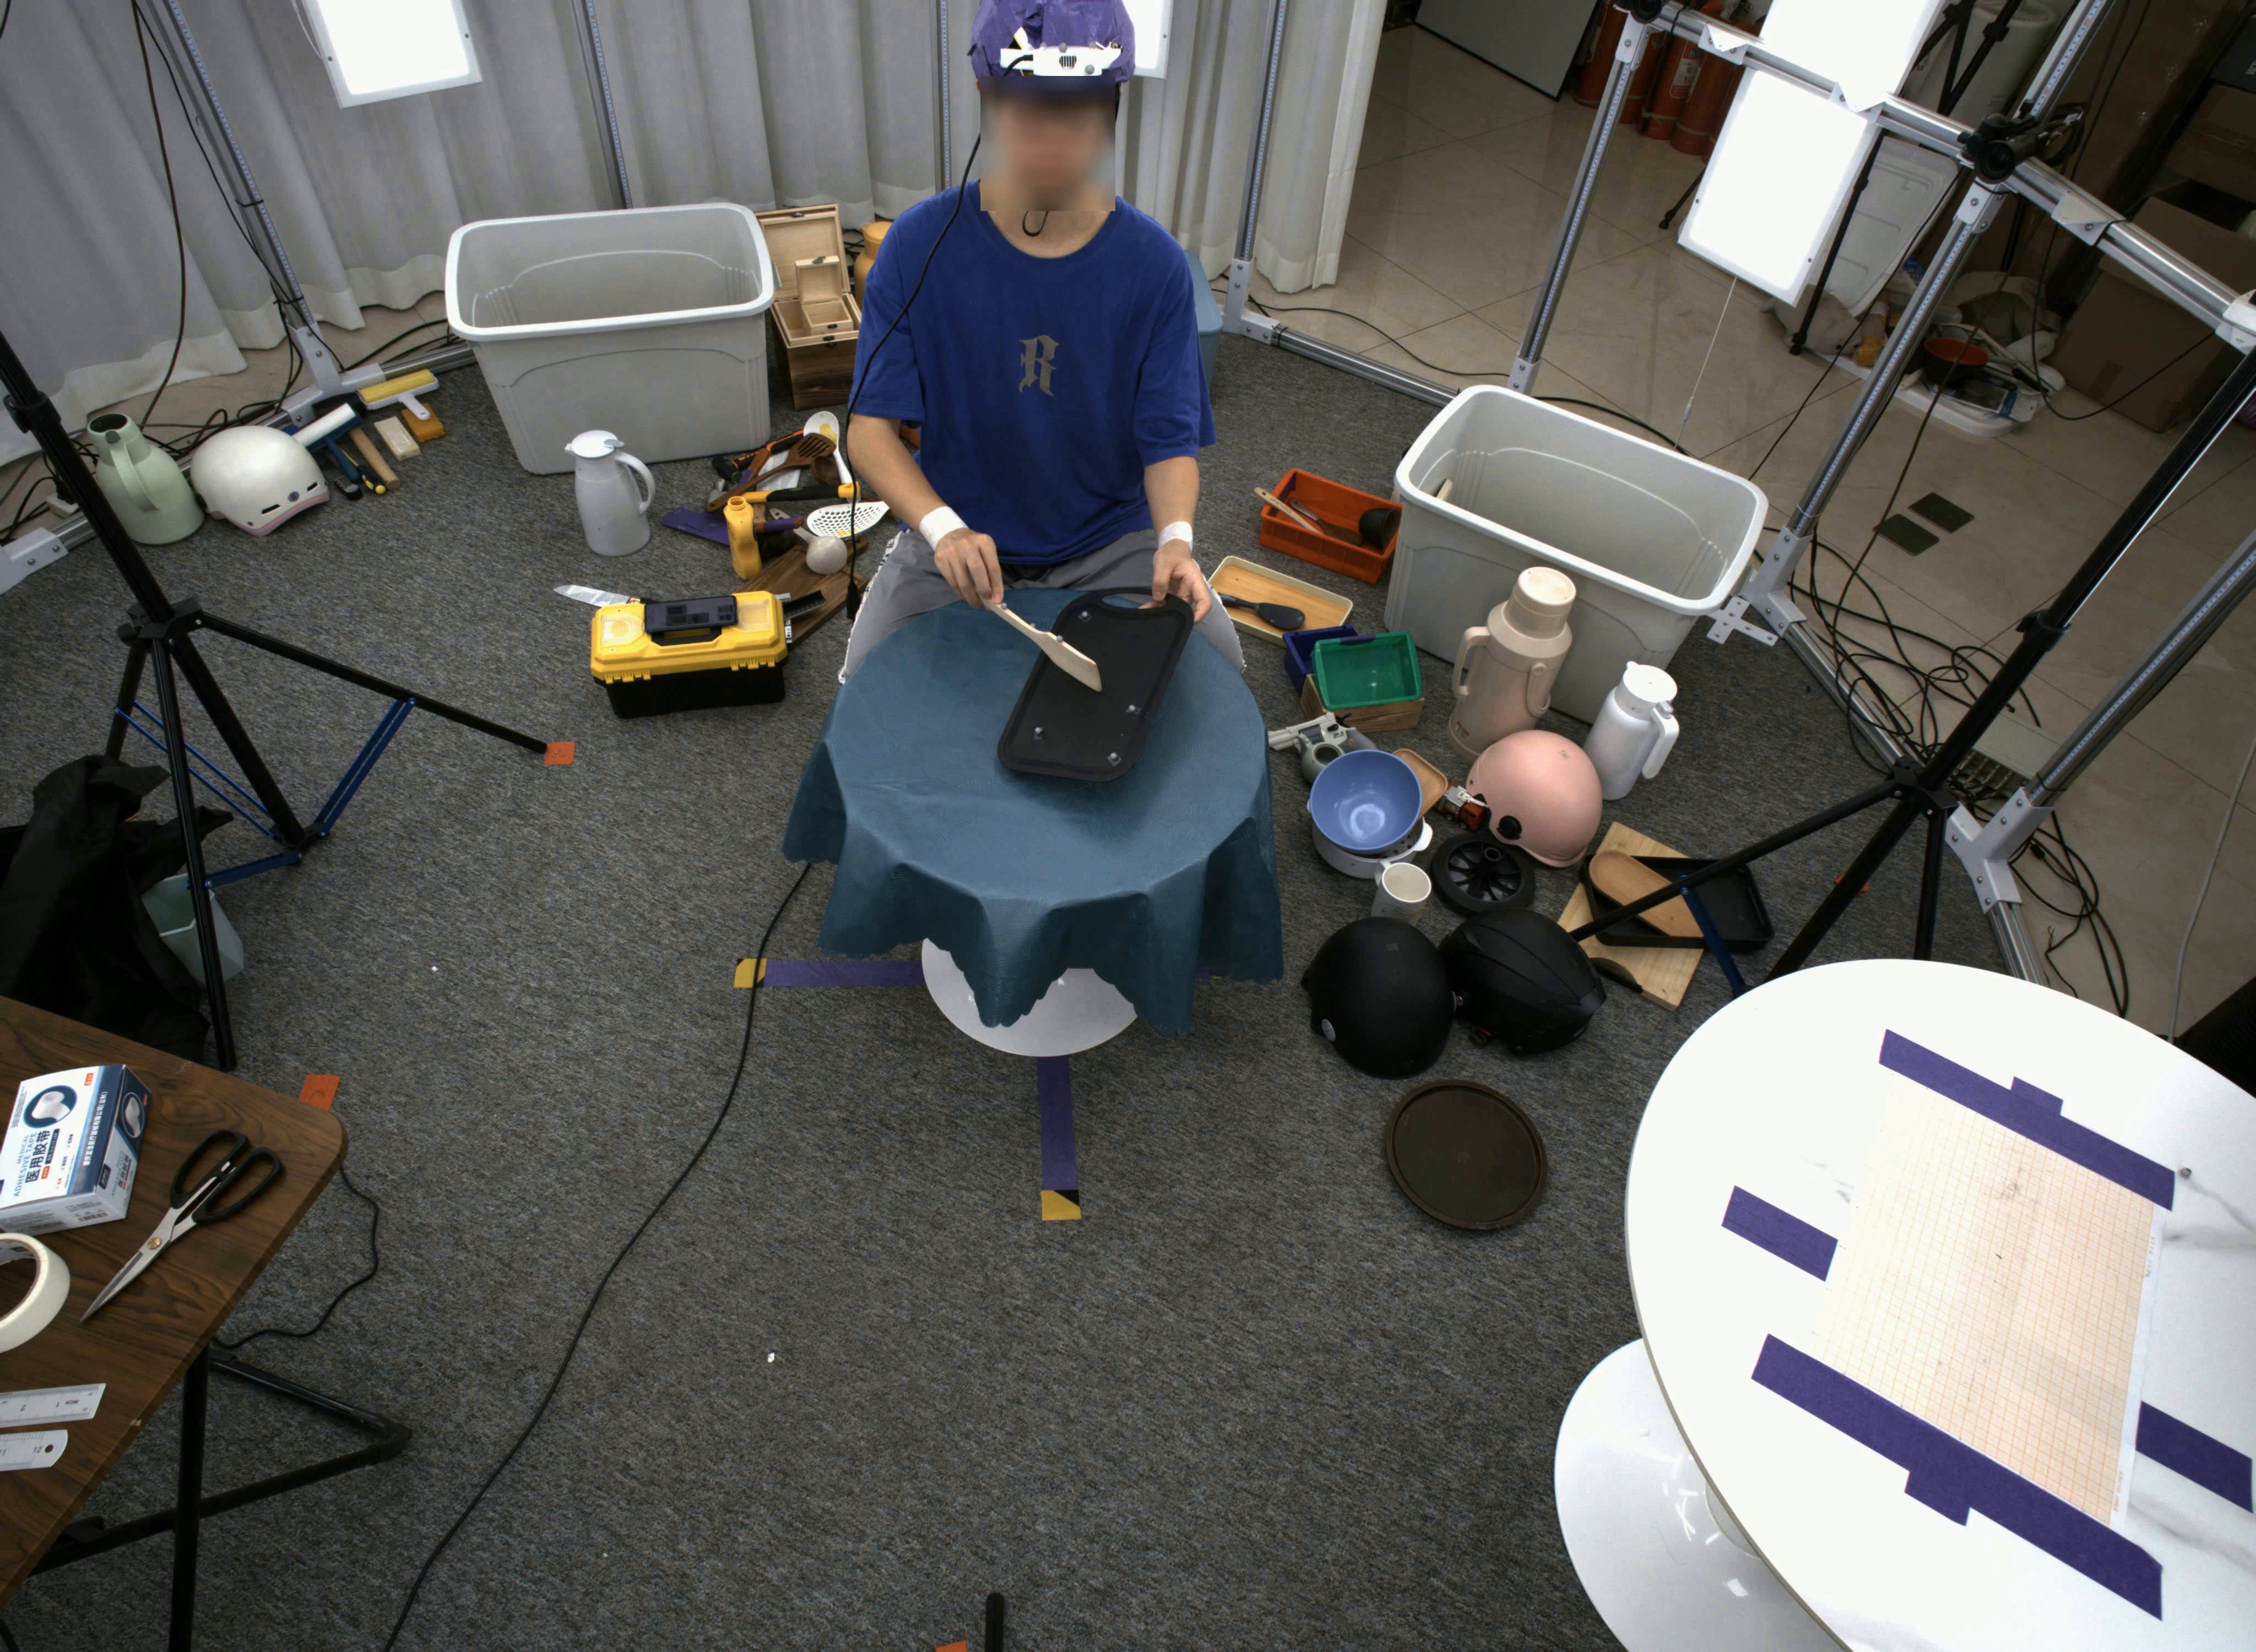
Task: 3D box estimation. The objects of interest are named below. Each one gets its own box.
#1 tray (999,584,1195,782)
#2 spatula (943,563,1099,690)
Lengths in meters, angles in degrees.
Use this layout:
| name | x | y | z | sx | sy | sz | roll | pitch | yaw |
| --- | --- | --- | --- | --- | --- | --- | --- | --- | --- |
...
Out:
| name | x | y | z | sx | sy | sz | roll | pitch | yaw |
| --- | --- | --- | --- | --- | --- | --- | --- | --- | --- |
| tray | -0.039 | -0.204 | 1.742 | 0.212 | 0.009 | 0.331 | 9 | 61 | 28 |
| spatula | -0.151 | -0.280 | 1.755 | 0.297 | 0.071 | 0.011 | 39 | 75 | 23 |
